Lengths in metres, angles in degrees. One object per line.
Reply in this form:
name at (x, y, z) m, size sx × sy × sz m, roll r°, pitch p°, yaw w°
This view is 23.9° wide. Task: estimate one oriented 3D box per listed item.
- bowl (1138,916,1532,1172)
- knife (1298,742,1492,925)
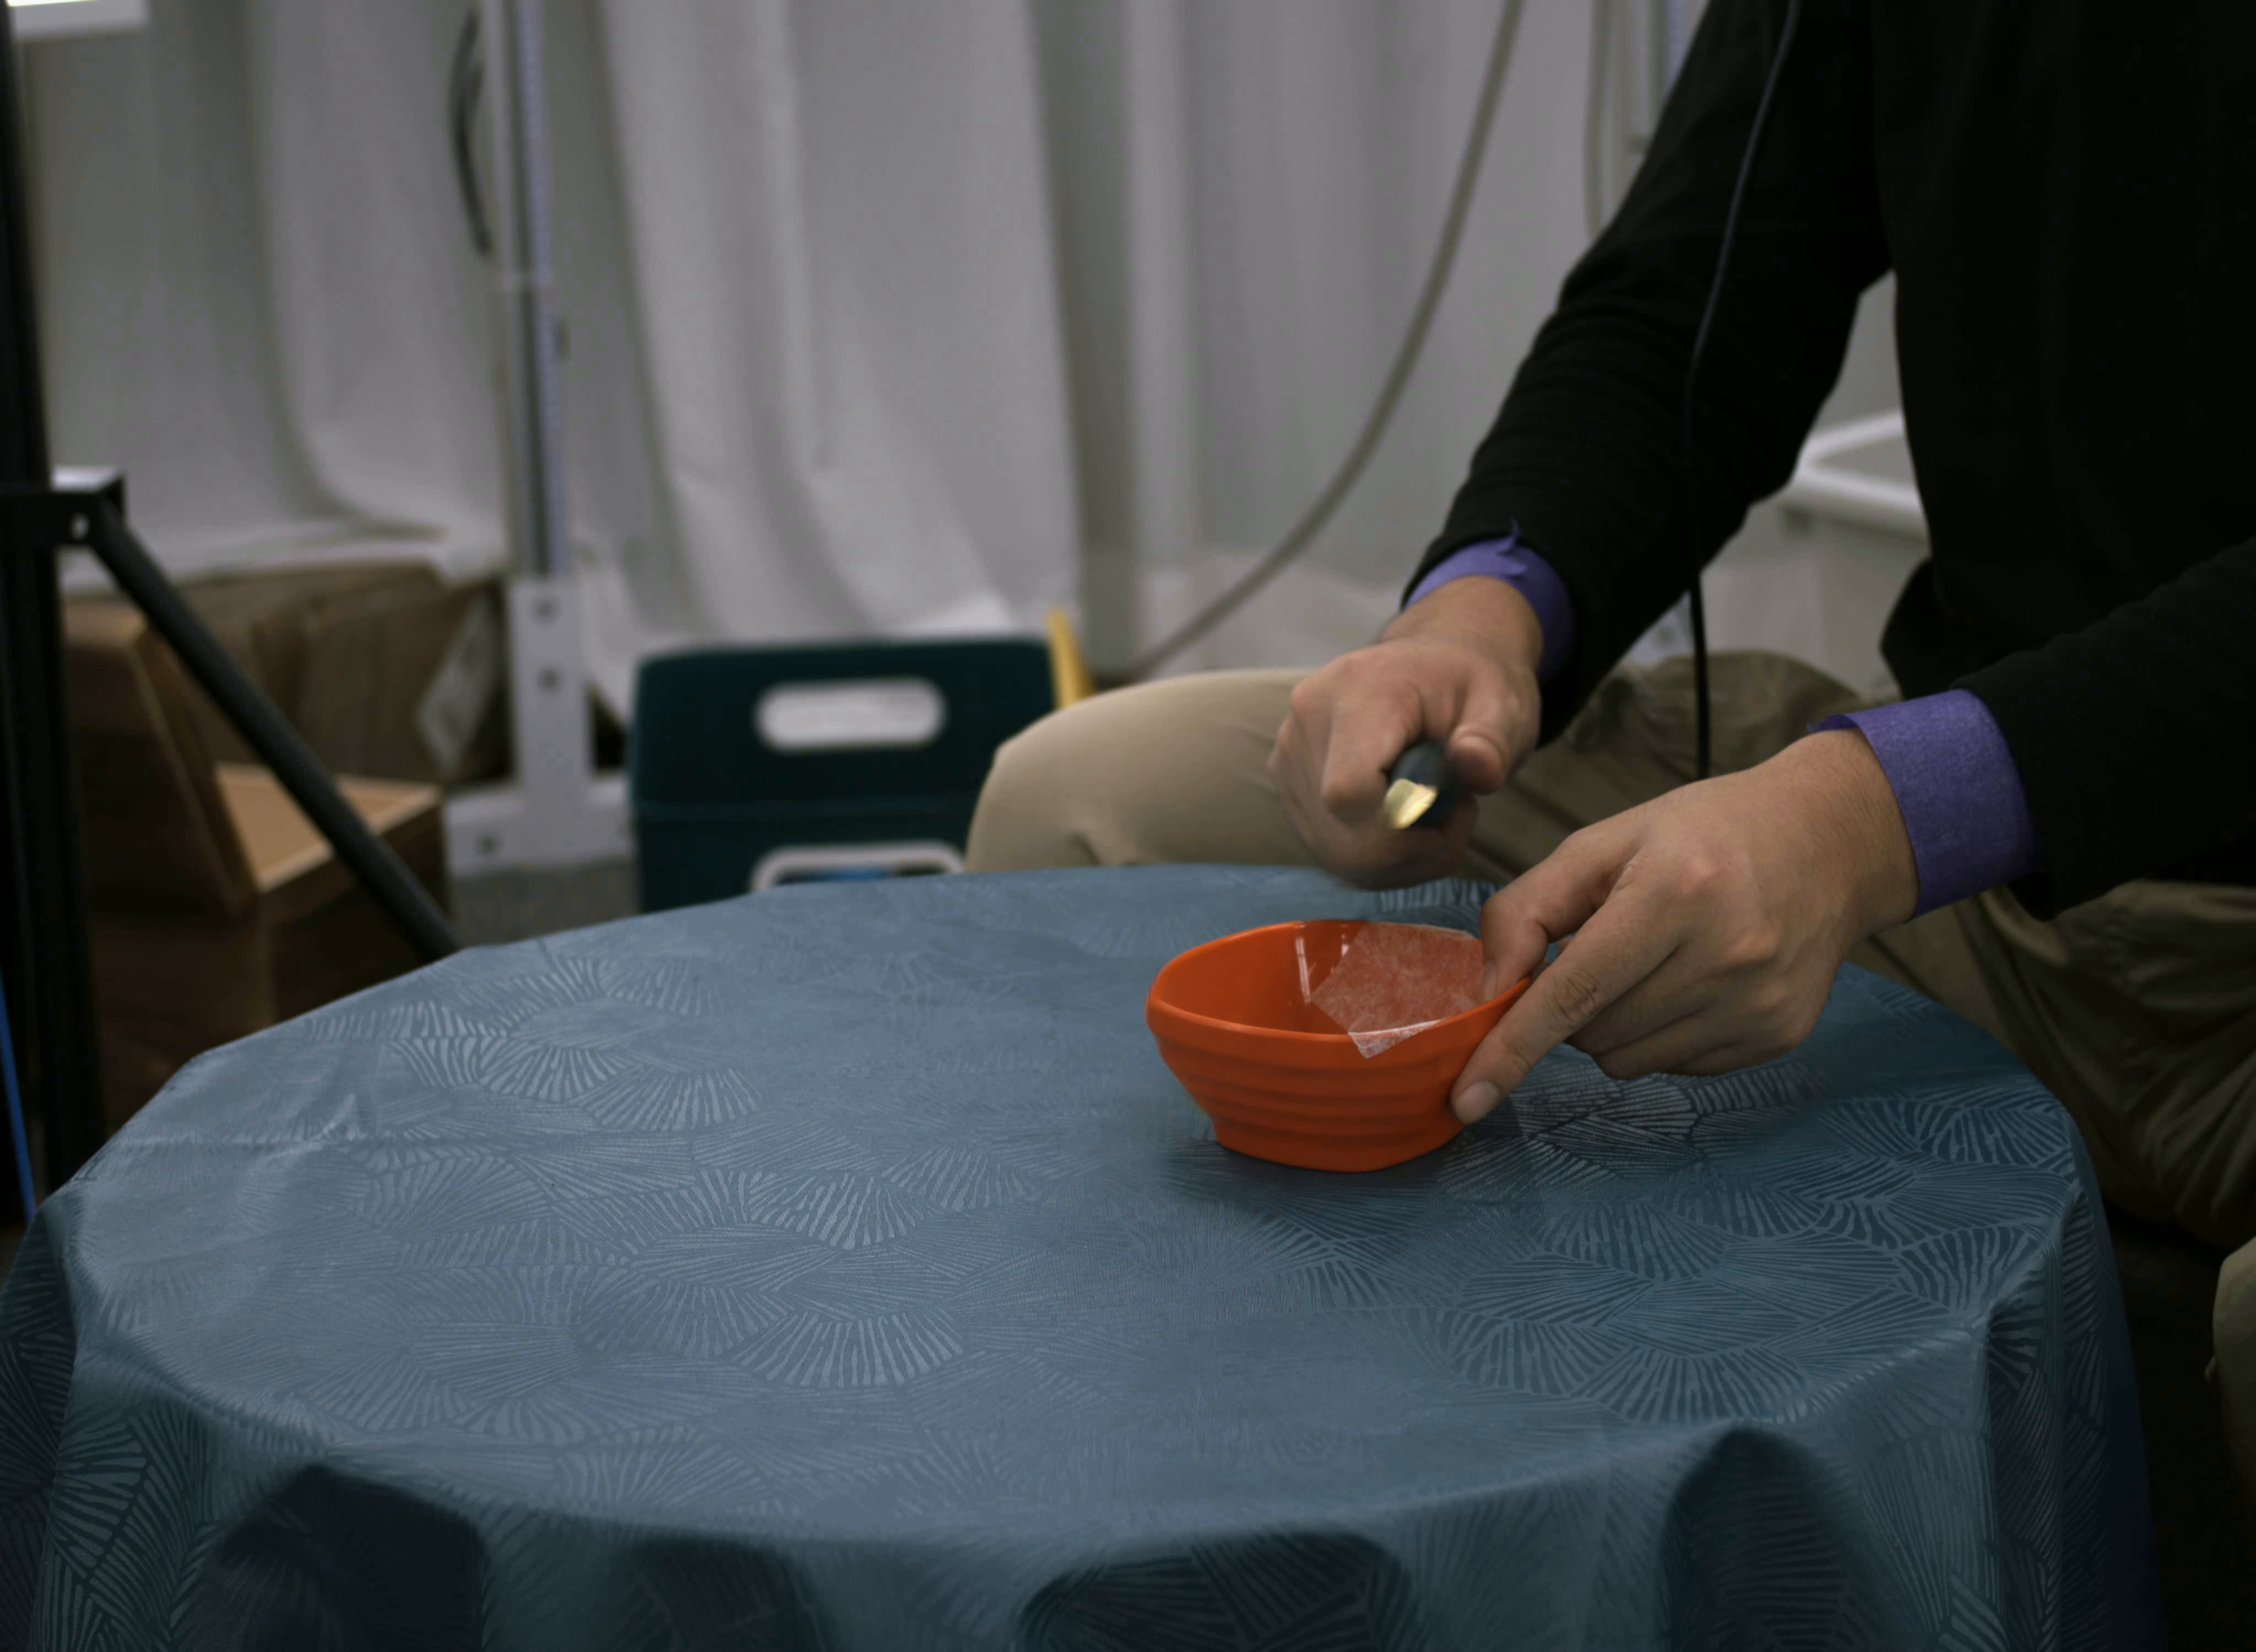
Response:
bowl at (0.064, 0.068, 1.590) m, size 0.118 × 0.051 × 0.119 m, roll -5°, pitch 16°, yaw 0°
knife at (0.083, 0.004, 1.658) m, size 0.081 × 0.027 × 0.288 m, roll -43°, pitch -3°, yaw 2°
